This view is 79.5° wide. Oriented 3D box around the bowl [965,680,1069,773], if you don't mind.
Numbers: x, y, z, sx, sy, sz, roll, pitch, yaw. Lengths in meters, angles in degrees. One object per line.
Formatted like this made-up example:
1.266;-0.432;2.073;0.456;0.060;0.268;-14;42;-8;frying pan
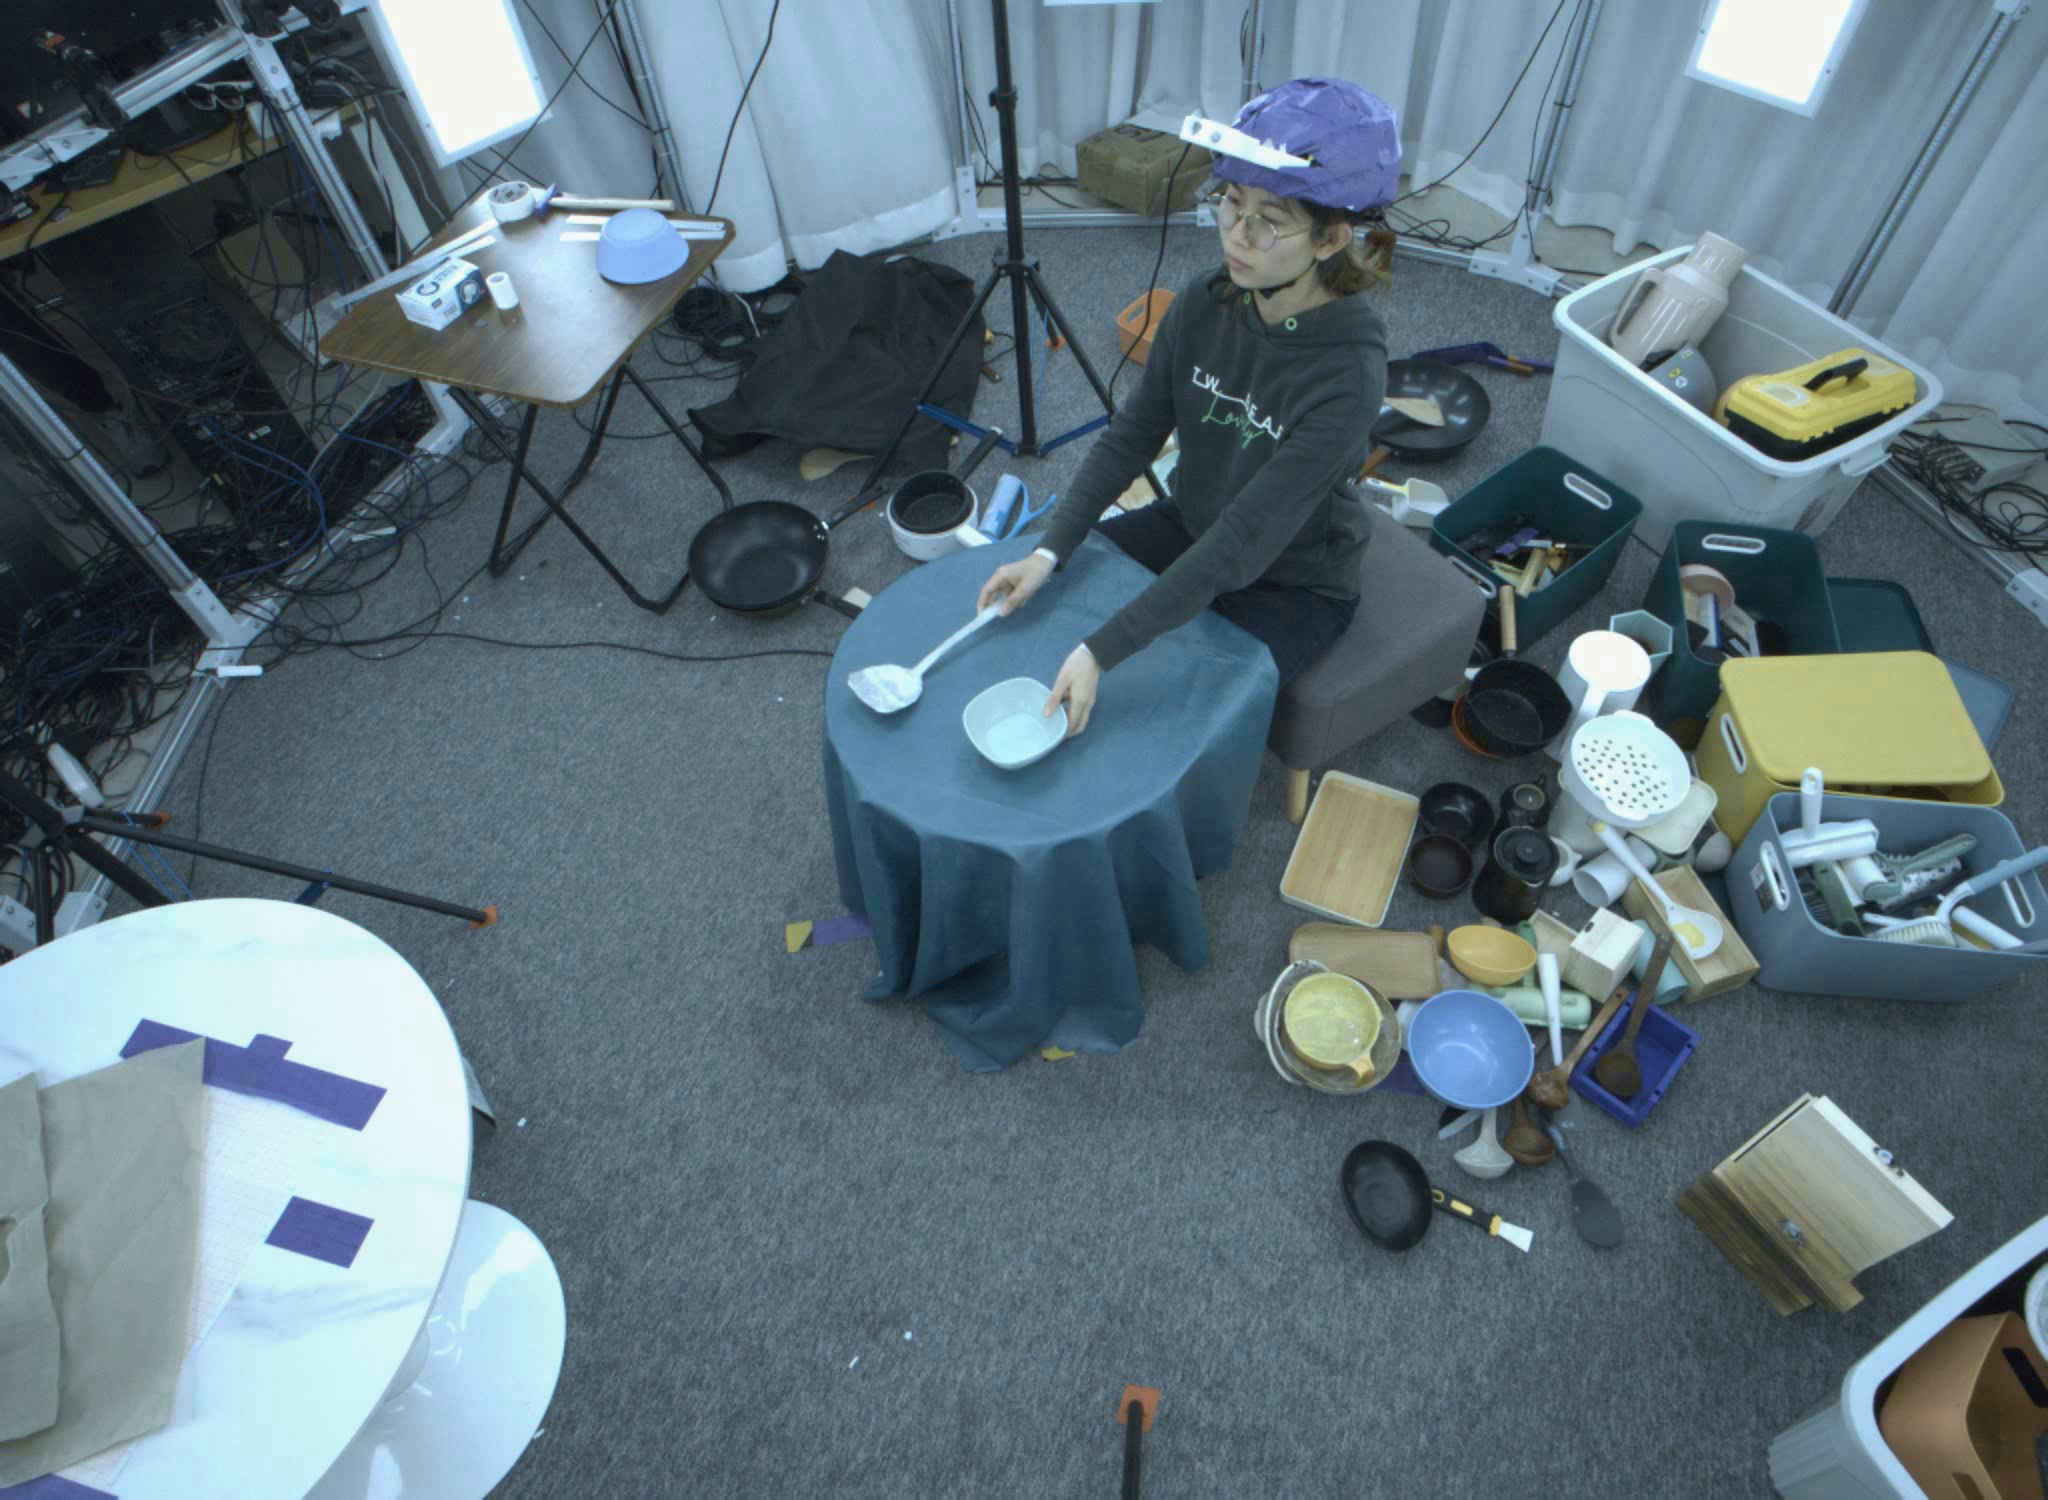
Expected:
-0.009;-0.024;1.779;0.151;0.059;0.150;-1;58;2;bowl

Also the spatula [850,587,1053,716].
-0.101;-0.167;1.880;0.367;0.045;0.097;-38;63;-18;spatula
